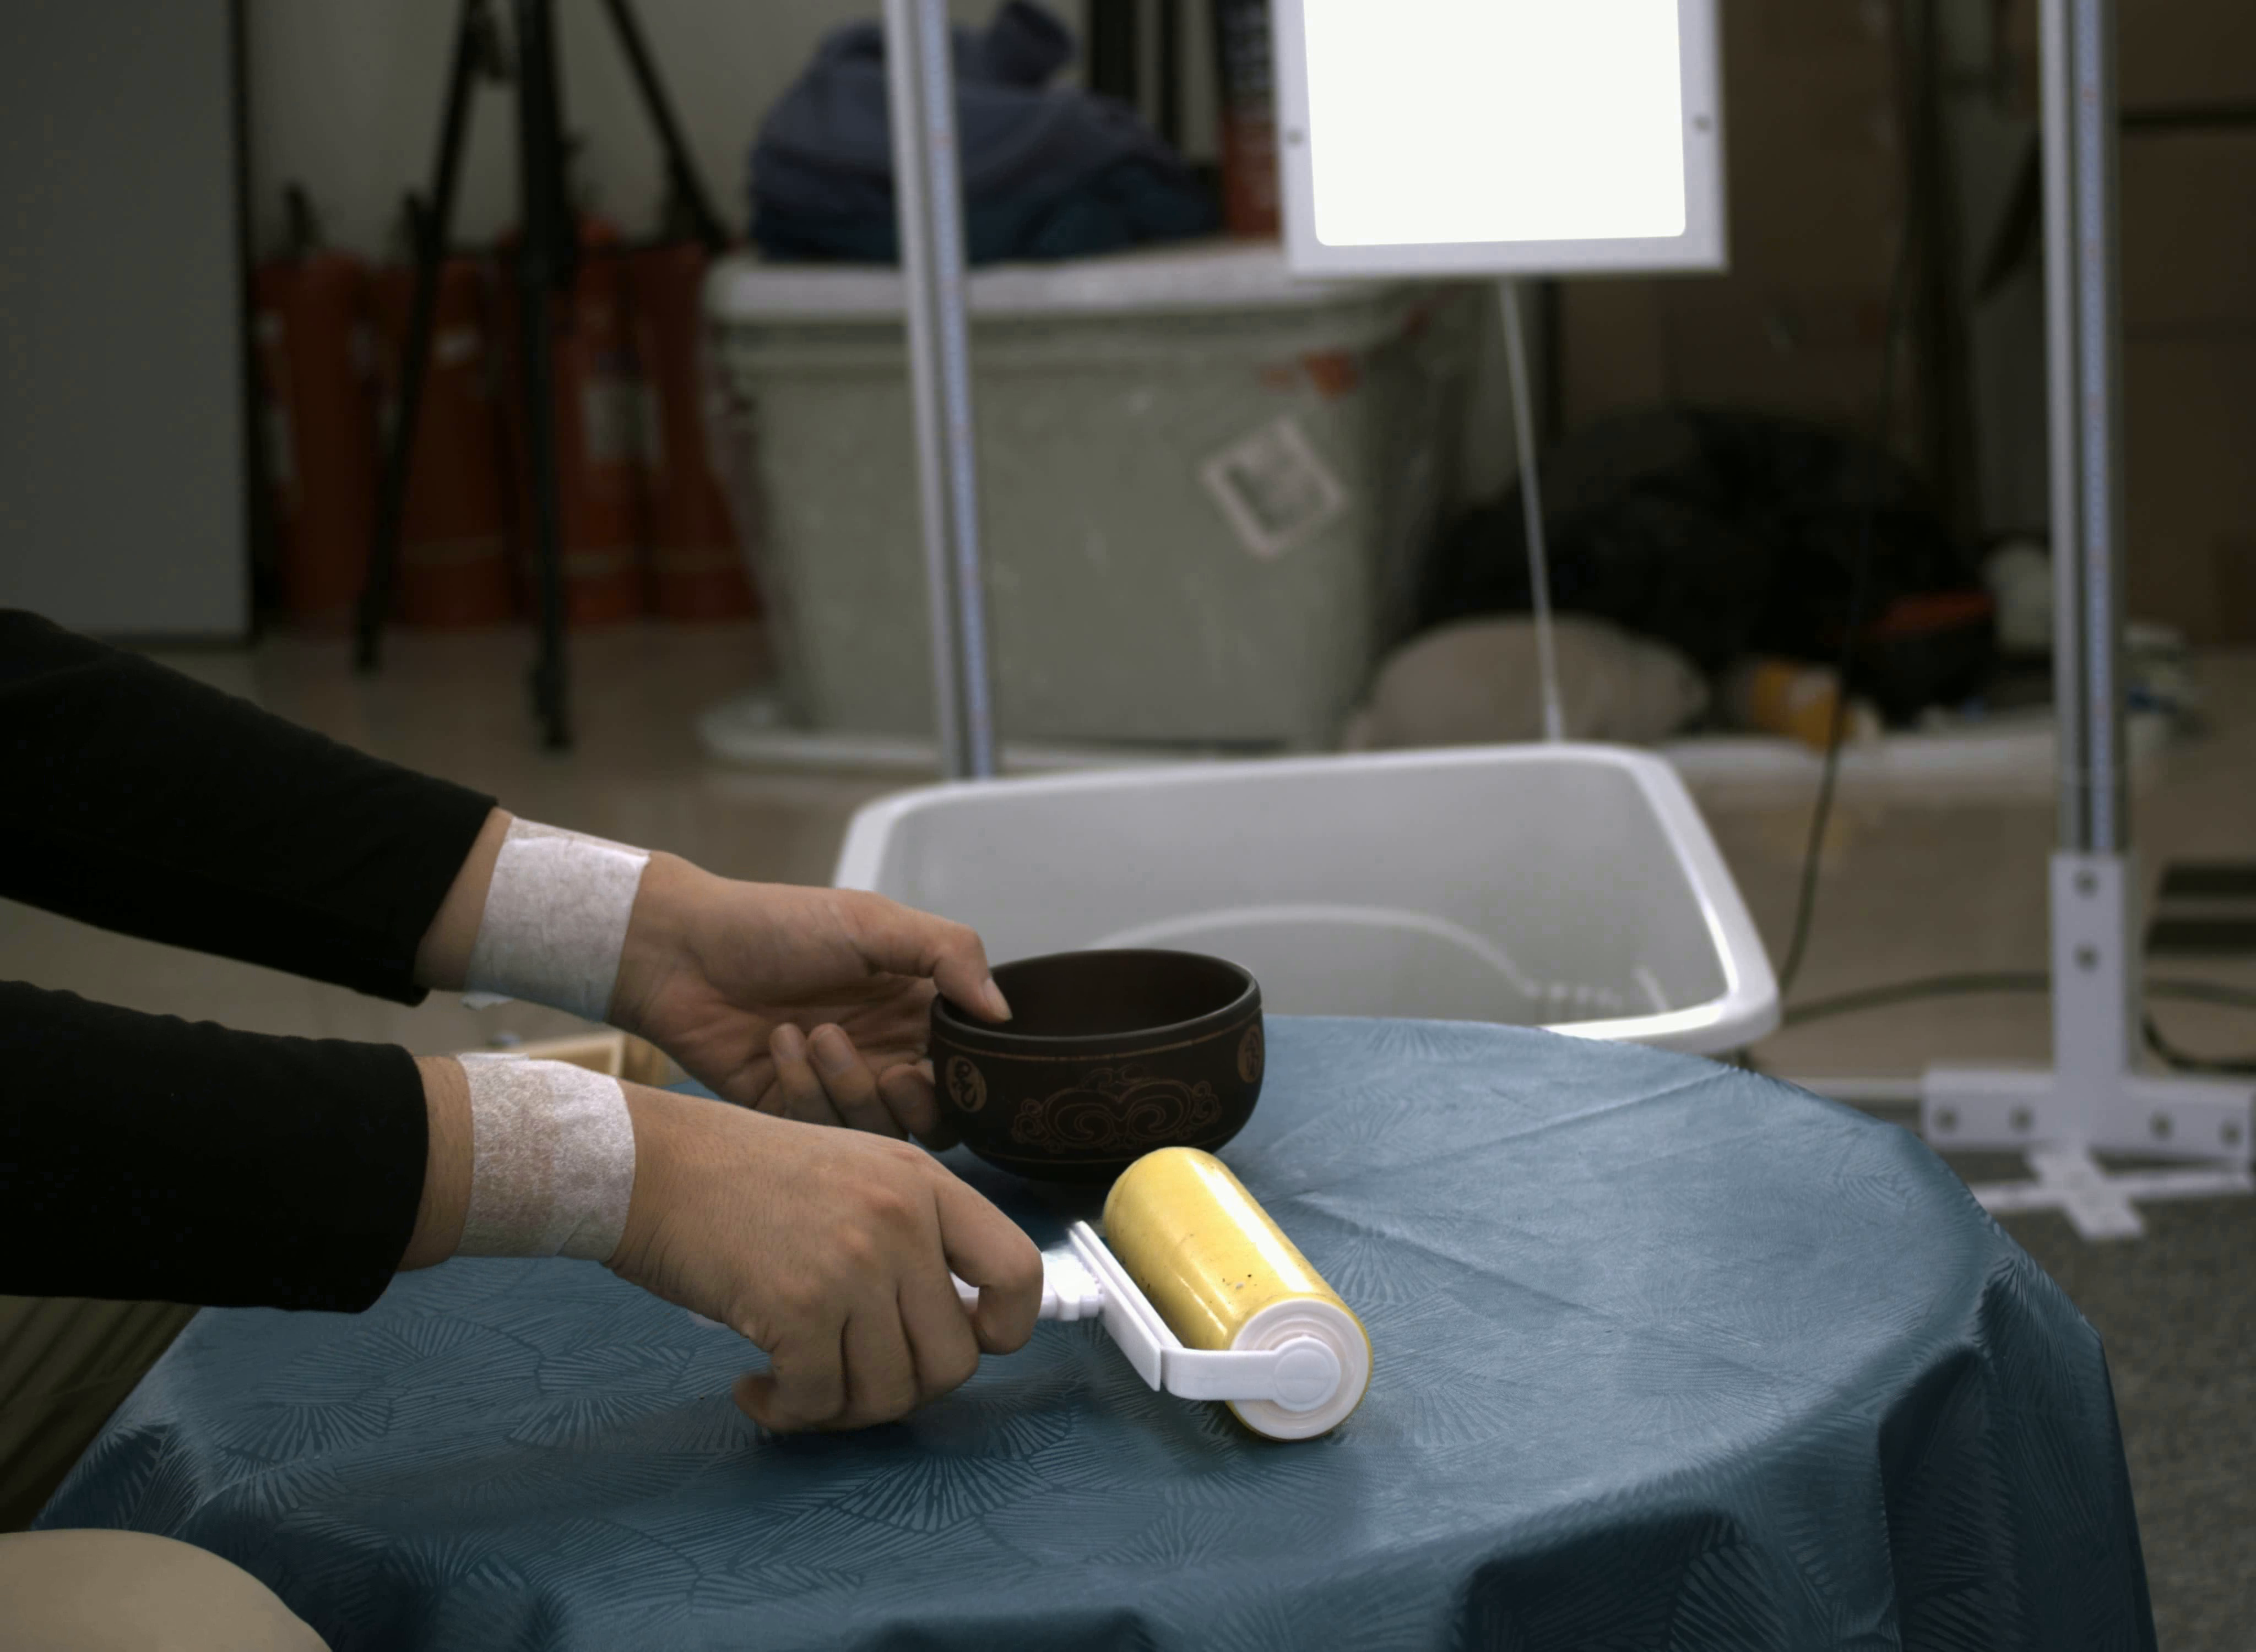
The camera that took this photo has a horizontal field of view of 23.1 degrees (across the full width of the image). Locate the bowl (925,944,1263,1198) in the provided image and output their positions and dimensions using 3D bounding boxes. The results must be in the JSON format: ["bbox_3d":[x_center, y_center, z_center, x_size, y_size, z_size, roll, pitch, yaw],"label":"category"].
[{"bbox_3d":[-0.011,0.088,1.903,0.117,0.070,0.118,-4,13,0],"label":"bowl"}]

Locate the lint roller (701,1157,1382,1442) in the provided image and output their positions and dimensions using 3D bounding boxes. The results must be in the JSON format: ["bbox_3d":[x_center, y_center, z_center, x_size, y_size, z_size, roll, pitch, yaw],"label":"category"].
[{"bbox_3d":[-0.035,0.138,1.697,0.189,0.052,0.176,9,10,-15],"label":"lint roller"}]
